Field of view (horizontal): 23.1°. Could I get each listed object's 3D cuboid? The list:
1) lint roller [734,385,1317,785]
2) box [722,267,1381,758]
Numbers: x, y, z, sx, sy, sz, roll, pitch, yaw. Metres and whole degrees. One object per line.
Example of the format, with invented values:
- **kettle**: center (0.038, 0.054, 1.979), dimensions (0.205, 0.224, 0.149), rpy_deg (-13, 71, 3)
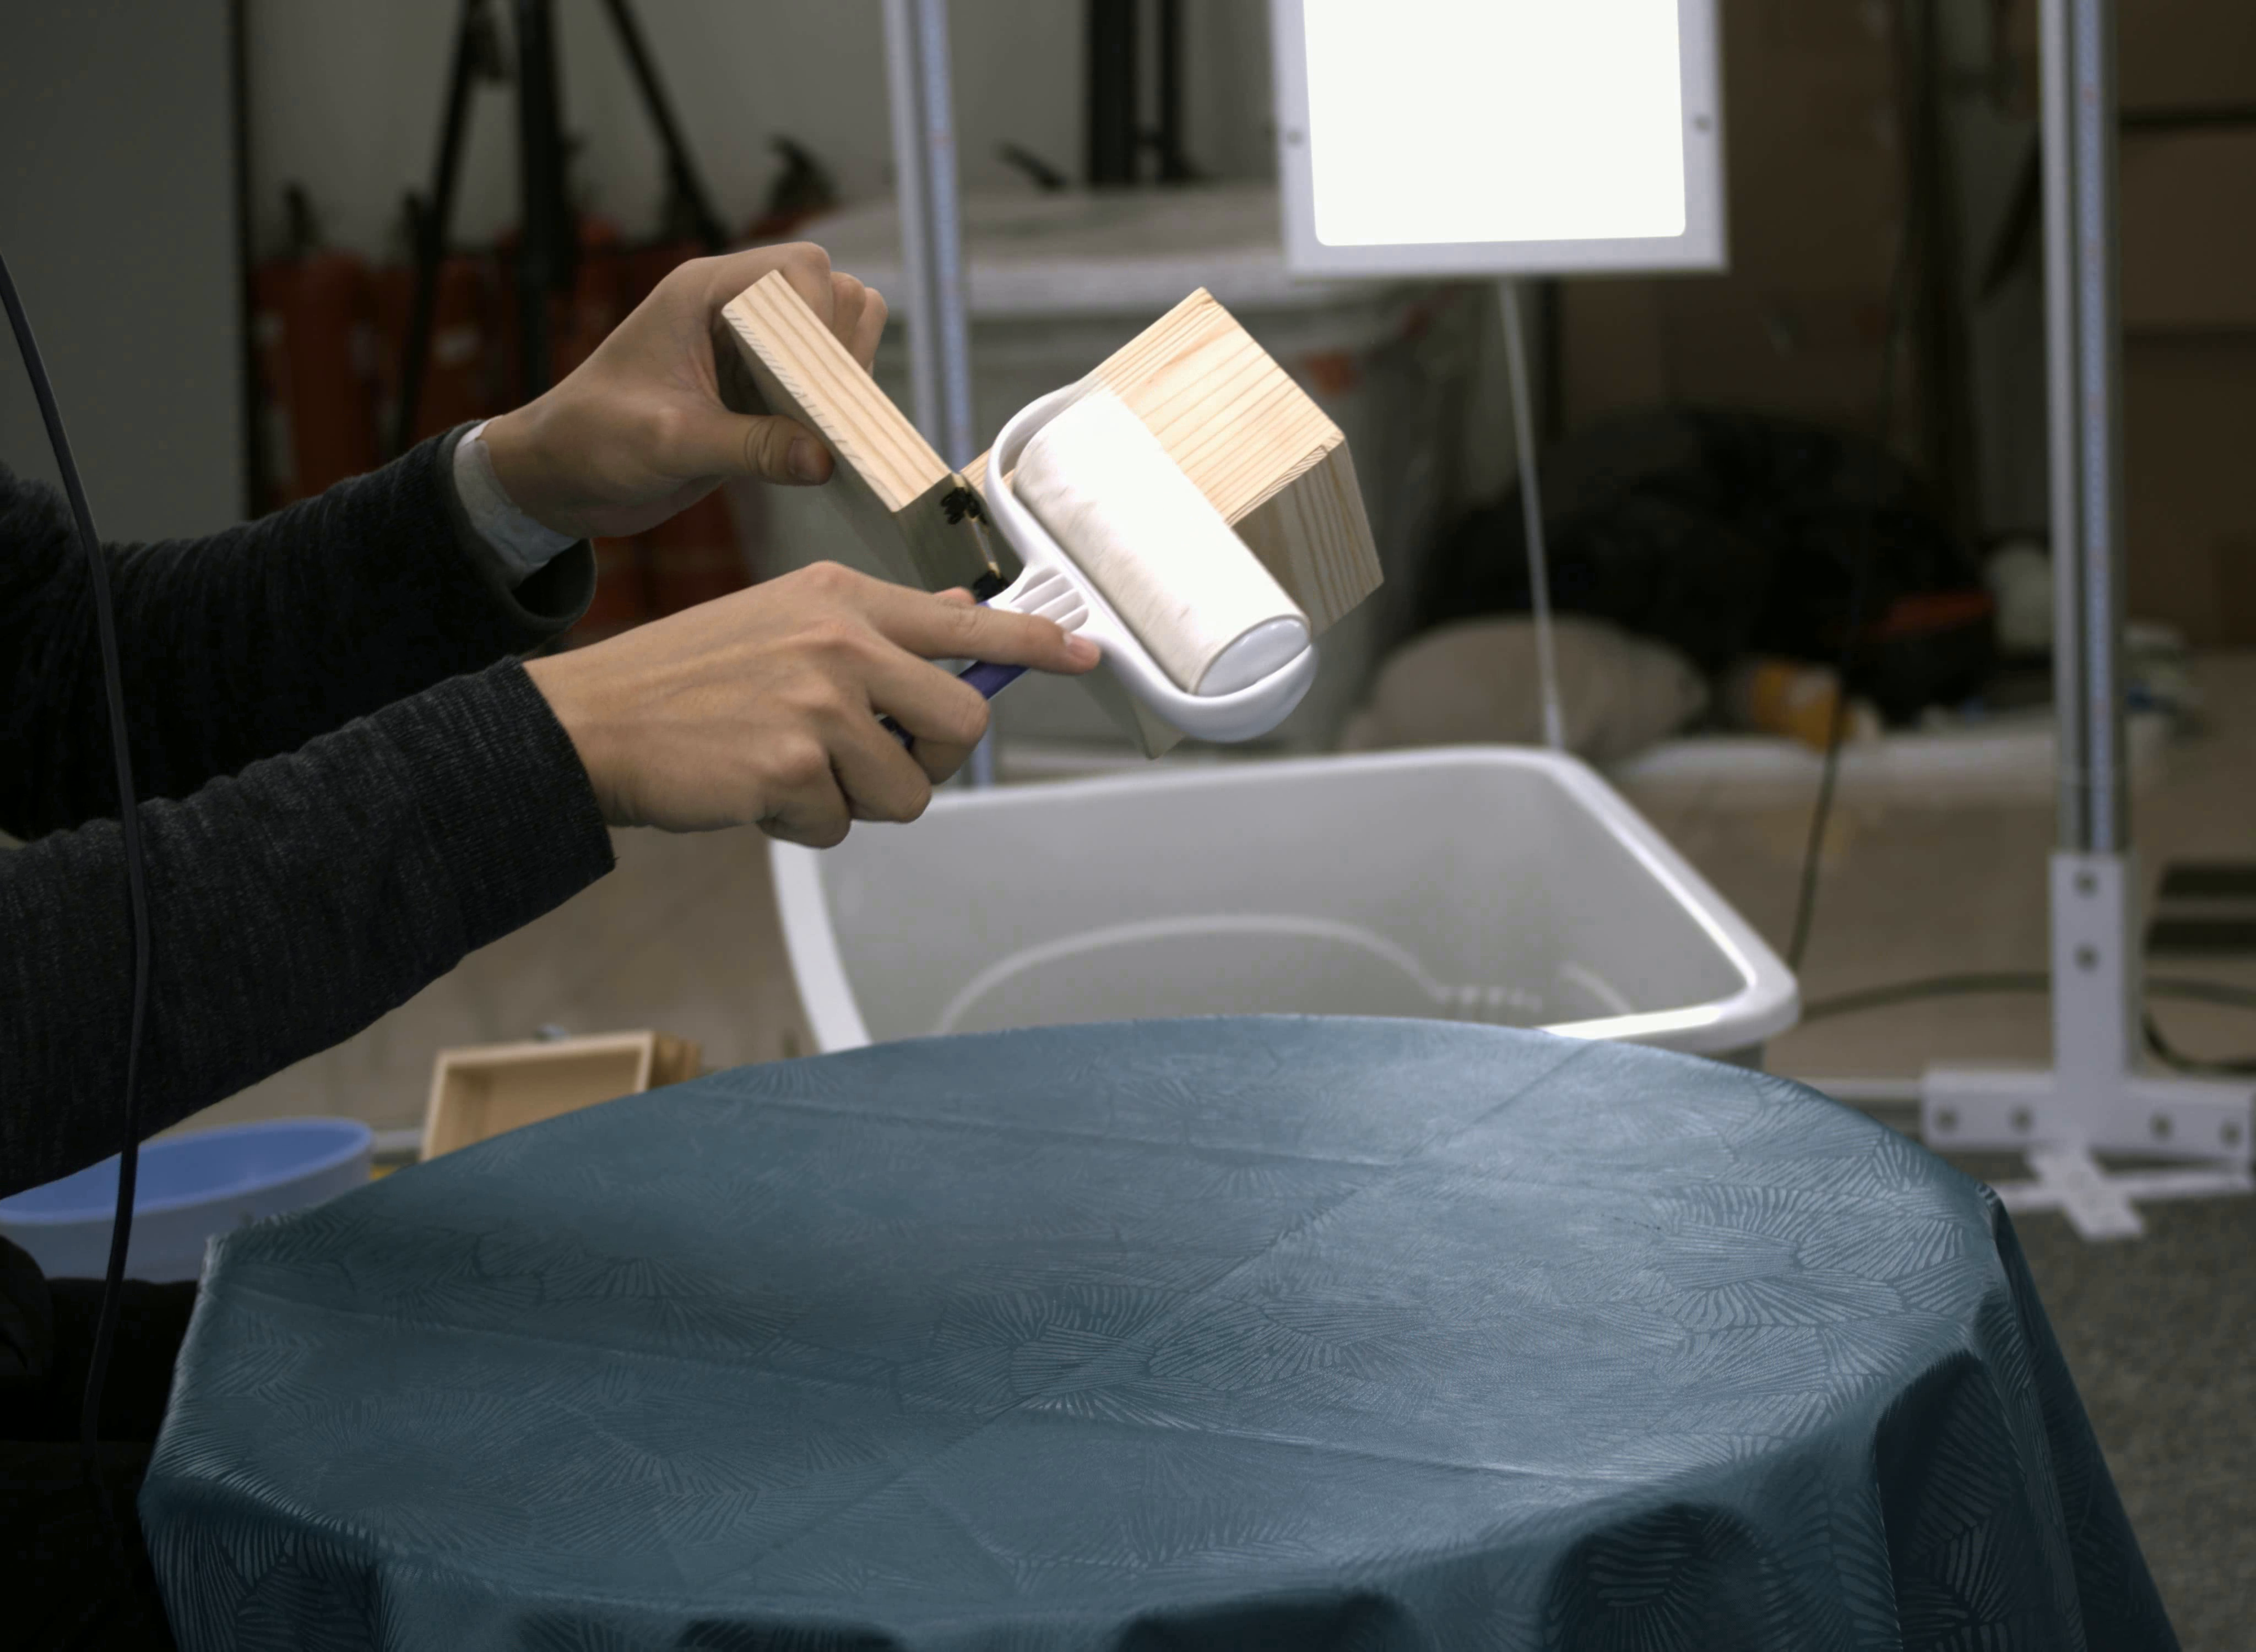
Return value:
- **lint roller**: center (-0.043, -0.063, 1.684), dimensions (0.177, 0.051, 0.134), rpy_deg (-22, 59, -27)
- **box**: center (-0.024, -0.129, 1.822), dimensions (0.133, 0.102, 0.186), rpy_deg (-38, 63, -7)
